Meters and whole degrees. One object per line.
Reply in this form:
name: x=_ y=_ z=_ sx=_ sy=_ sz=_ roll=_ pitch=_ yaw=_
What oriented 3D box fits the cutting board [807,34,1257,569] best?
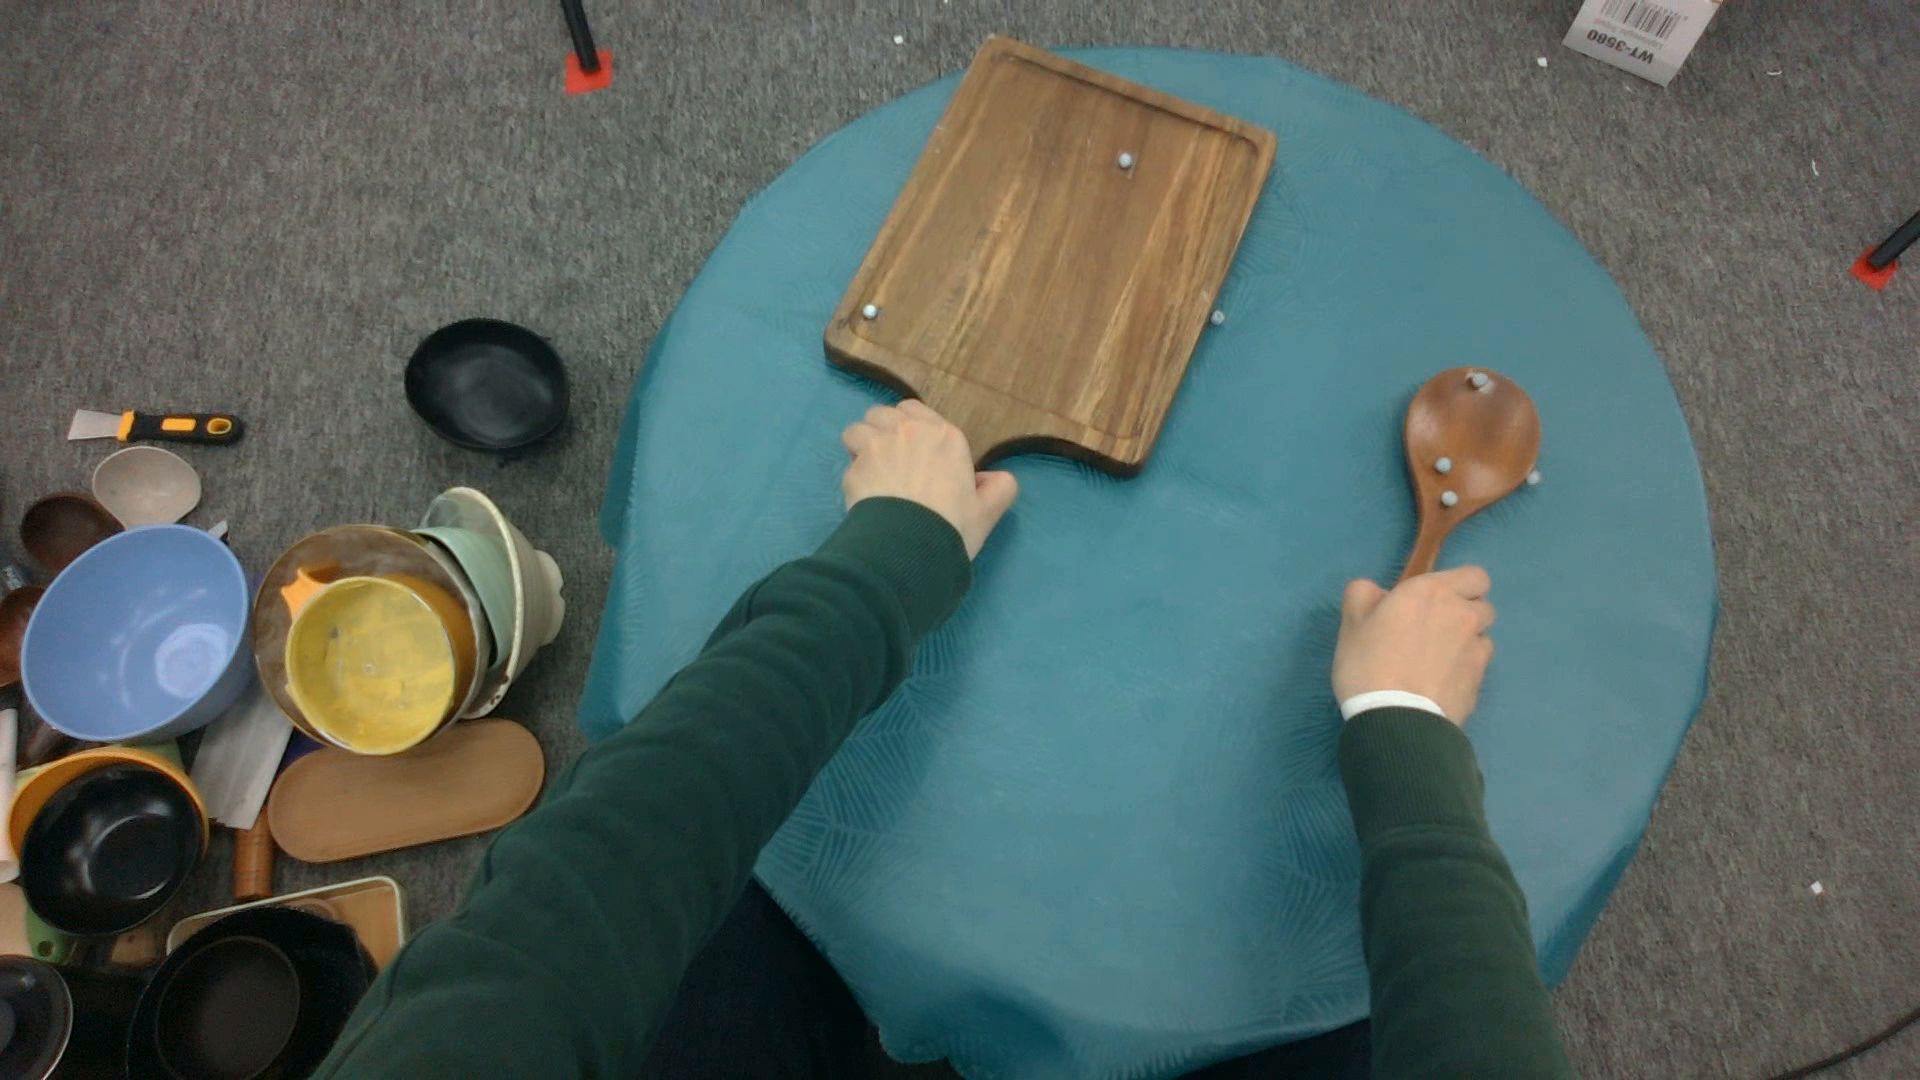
cutting board: x=0.030 y=-0.137 z=0.793 sx=0.201 sy=0.023 sz=0.353 roll=22 pitch=66 yaw=6

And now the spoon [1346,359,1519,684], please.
spoon: x=0.249 y=-0.014 z=0.744 sx=0.075 sy=0.017 sz=0.217 roll=26 pitch=61 yaw=5
